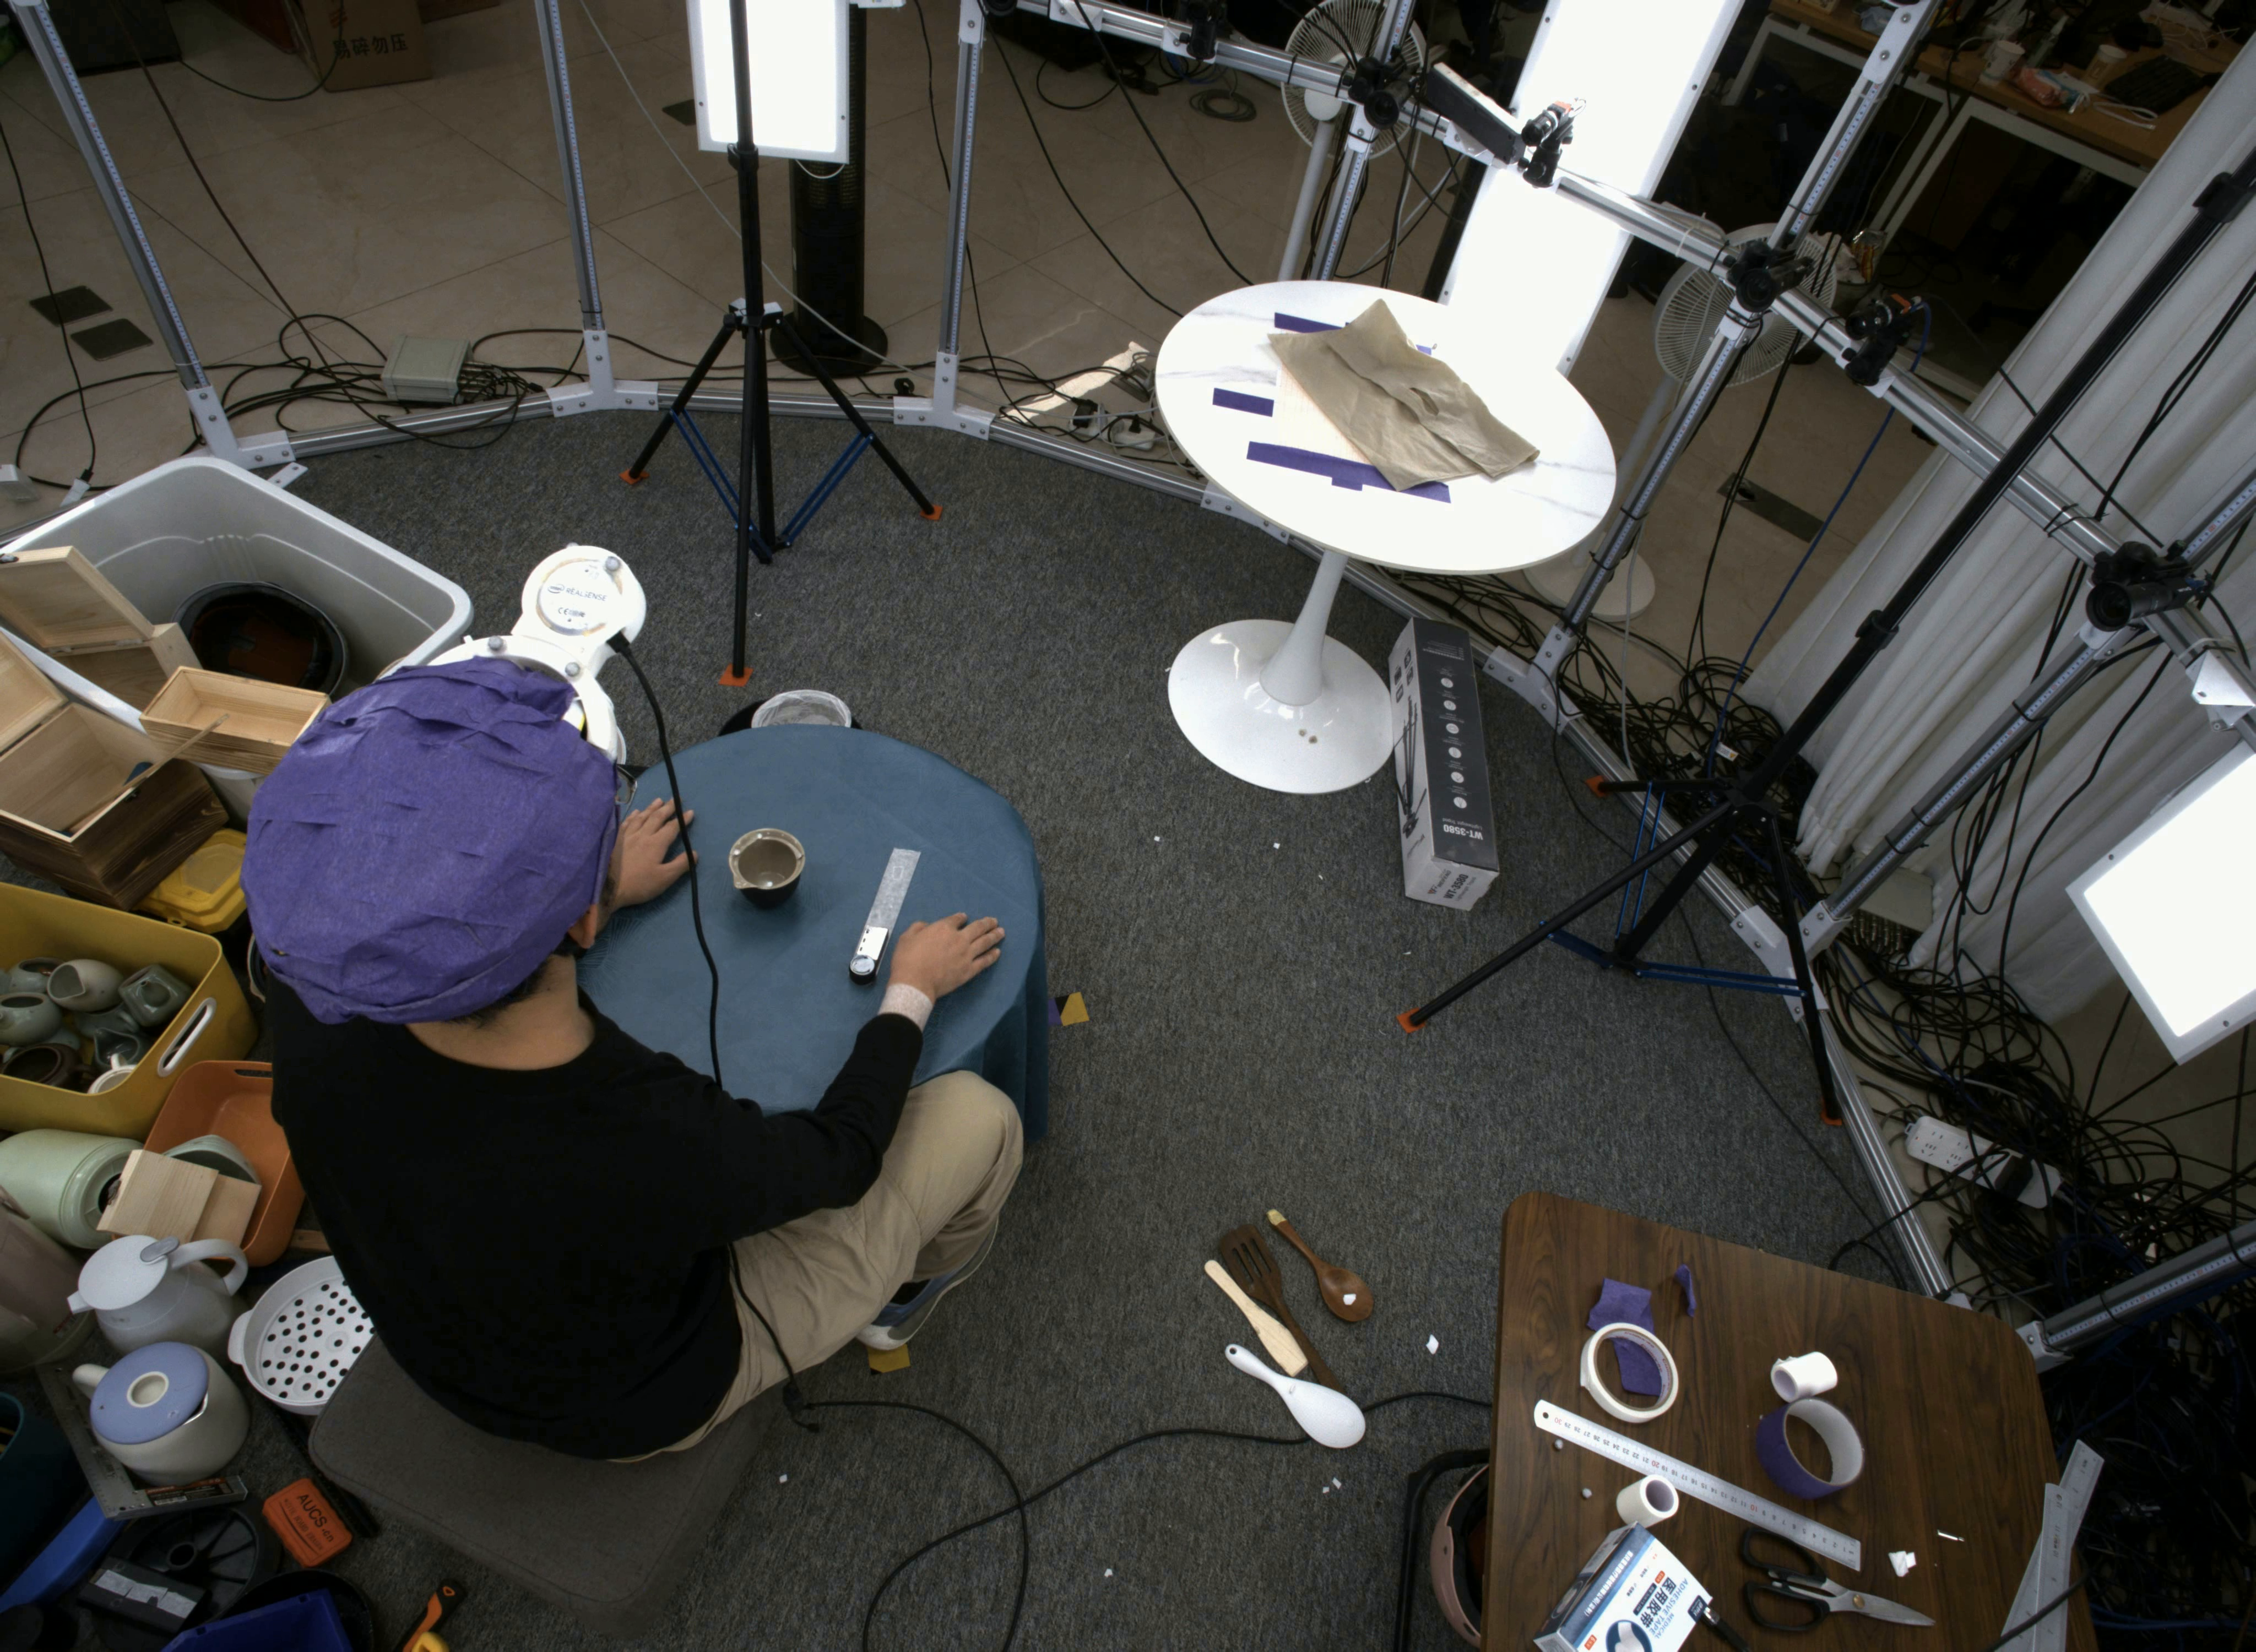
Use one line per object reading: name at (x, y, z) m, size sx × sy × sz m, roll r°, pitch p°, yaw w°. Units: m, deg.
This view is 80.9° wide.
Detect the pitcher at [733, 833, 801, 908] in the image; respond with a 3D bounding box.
pitcher at (-0.454, 0.062, 1.617) m, size 0.082 × 0.073 × 0.096 m, roll 32°, pitch 52°, yaw 11°

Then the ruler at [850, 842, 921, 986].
ruler at (-0.309, 0.104, 1.657) m, size 0.038 × 0.024 × 0.215 m, roll 18°, pitch 53°, yaw -7°
